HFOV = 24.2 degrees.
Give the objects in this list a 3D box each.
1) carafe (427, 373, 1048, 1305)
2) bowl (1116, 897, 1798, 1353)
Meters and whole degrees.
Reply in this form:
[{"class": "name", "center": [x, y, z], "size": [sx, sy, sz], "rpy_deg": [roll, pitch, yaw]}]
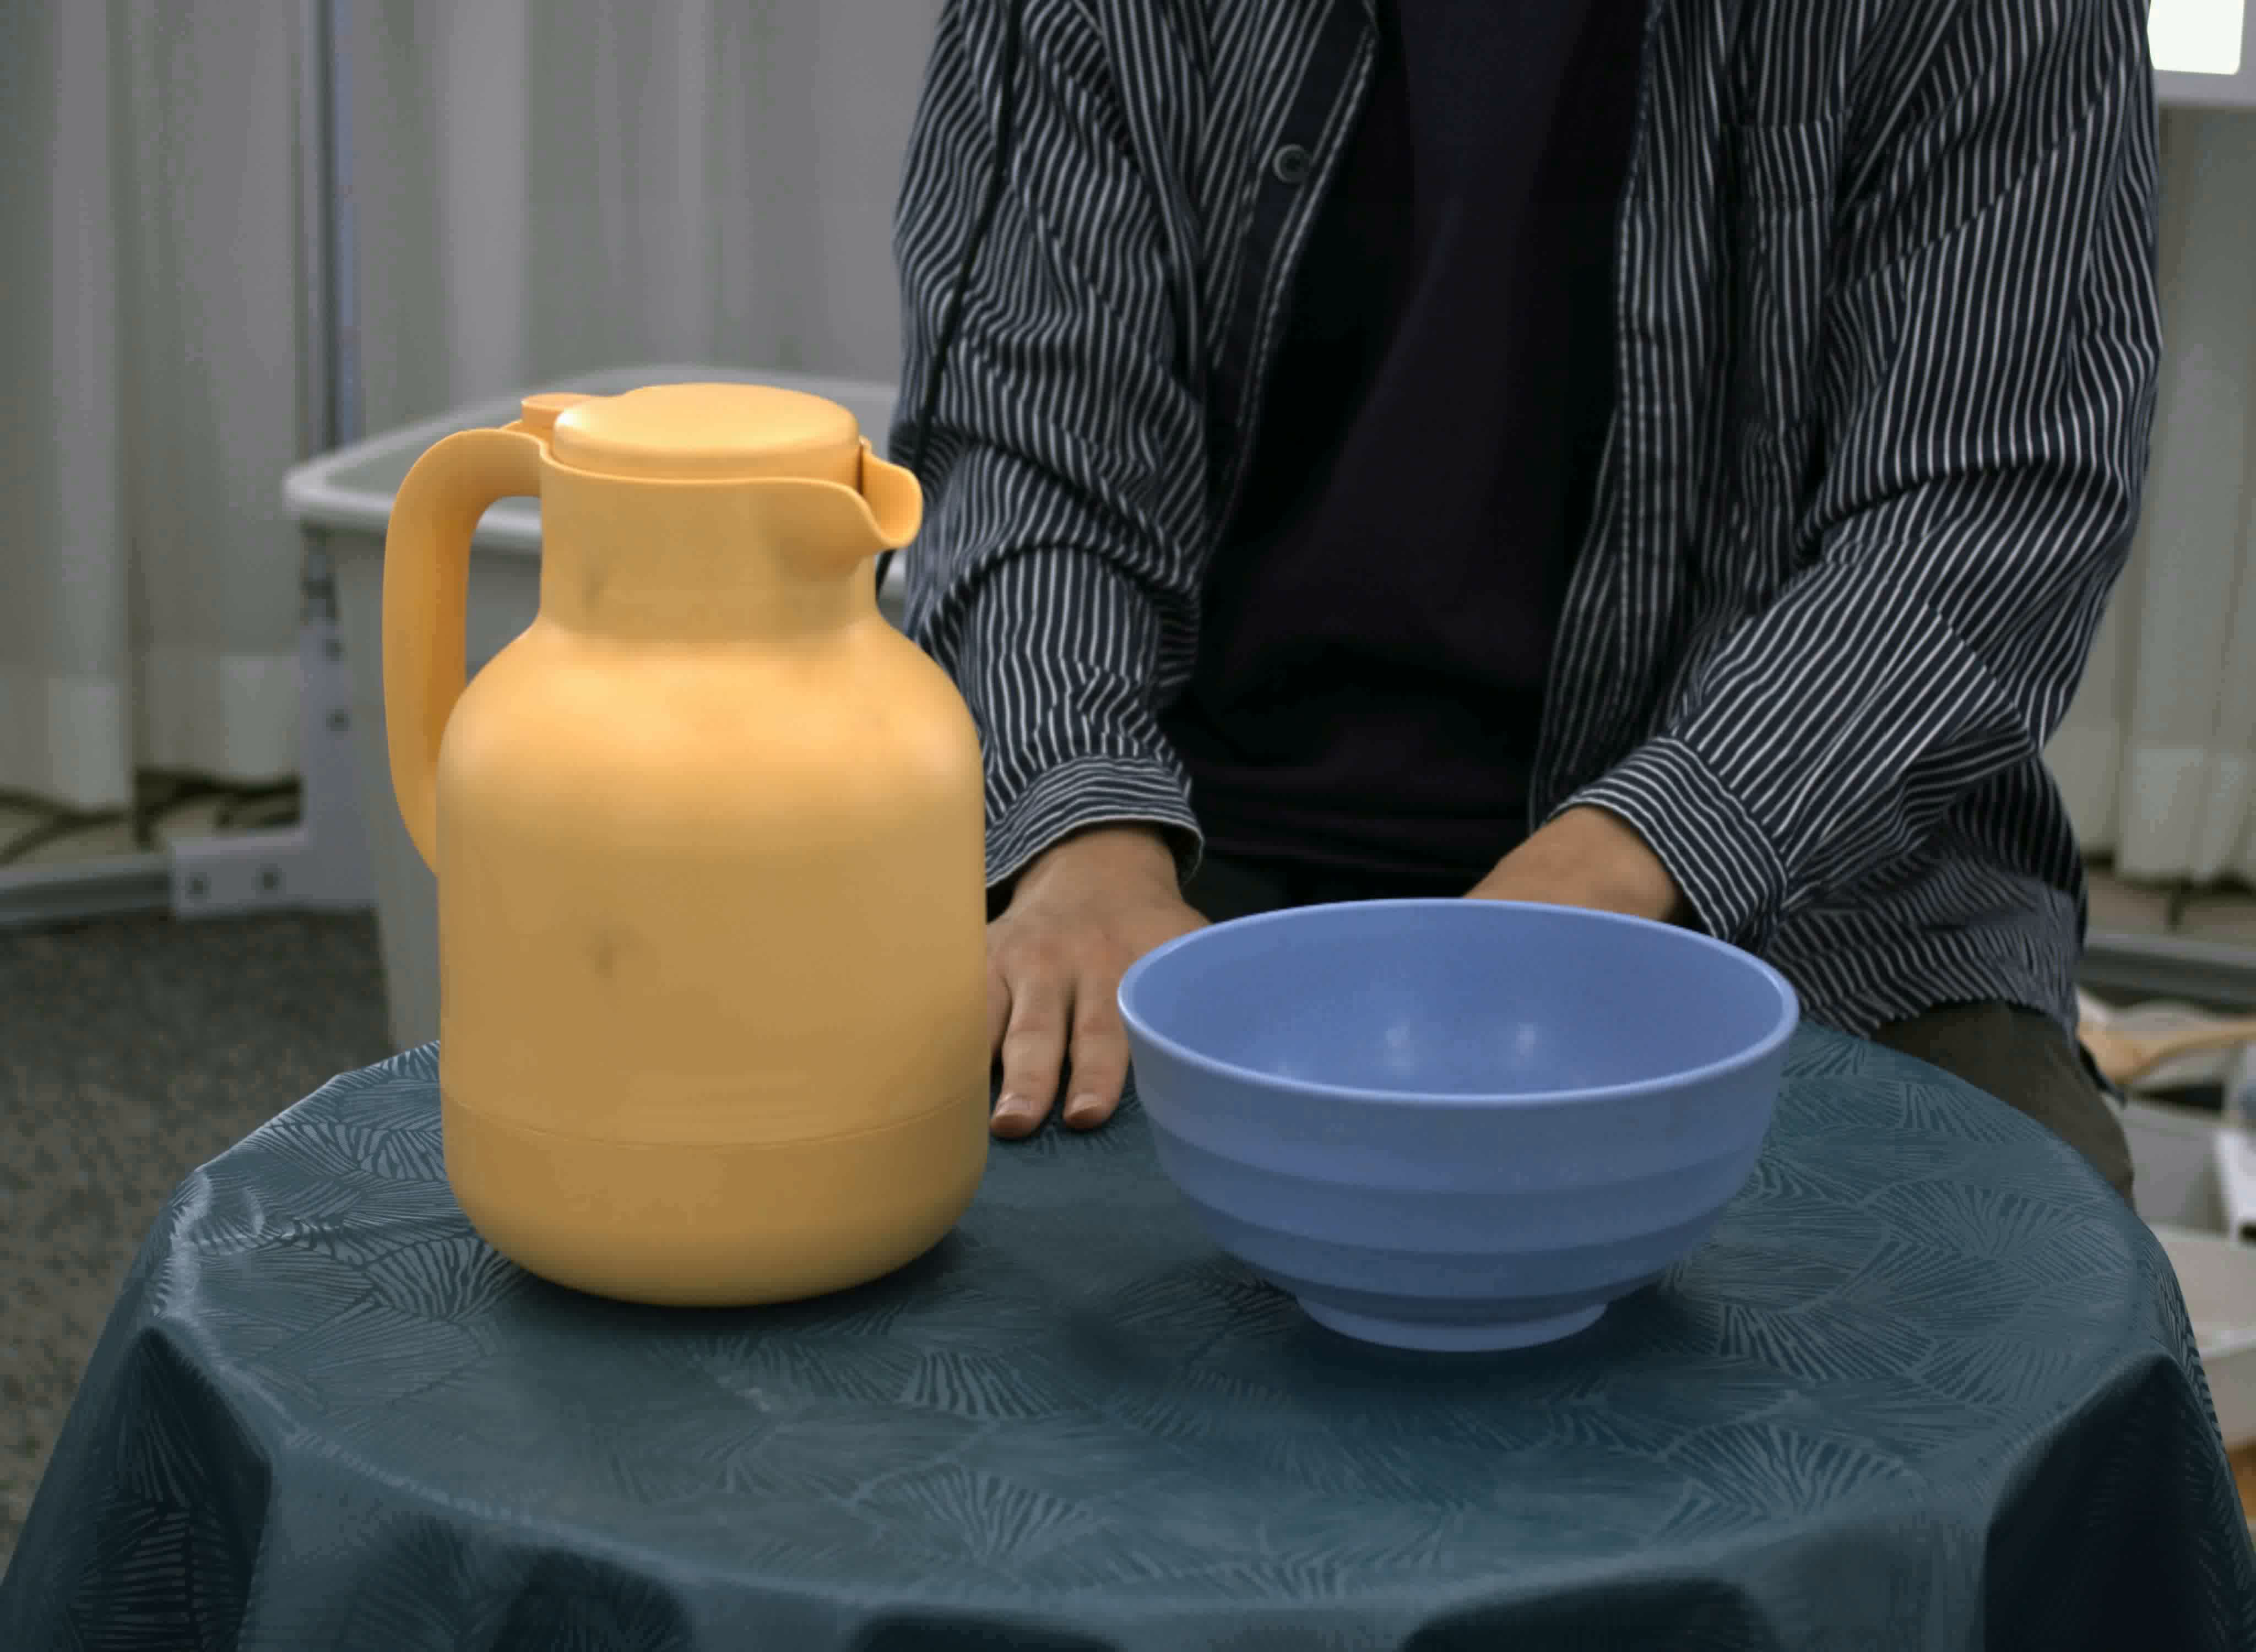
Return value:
[{"class": "carafe", "center": [-0.121, -0.003, 1.554], "size": [0.200, 0.262, 0.164], "rpy_deg": [11, 19, 35]}, {"class": "bowl", "center": [0.094, 0.092, 1.527], "size": [0.196, 0.096, 0.195], "rpy_deg": [1, 16, 0]}]
